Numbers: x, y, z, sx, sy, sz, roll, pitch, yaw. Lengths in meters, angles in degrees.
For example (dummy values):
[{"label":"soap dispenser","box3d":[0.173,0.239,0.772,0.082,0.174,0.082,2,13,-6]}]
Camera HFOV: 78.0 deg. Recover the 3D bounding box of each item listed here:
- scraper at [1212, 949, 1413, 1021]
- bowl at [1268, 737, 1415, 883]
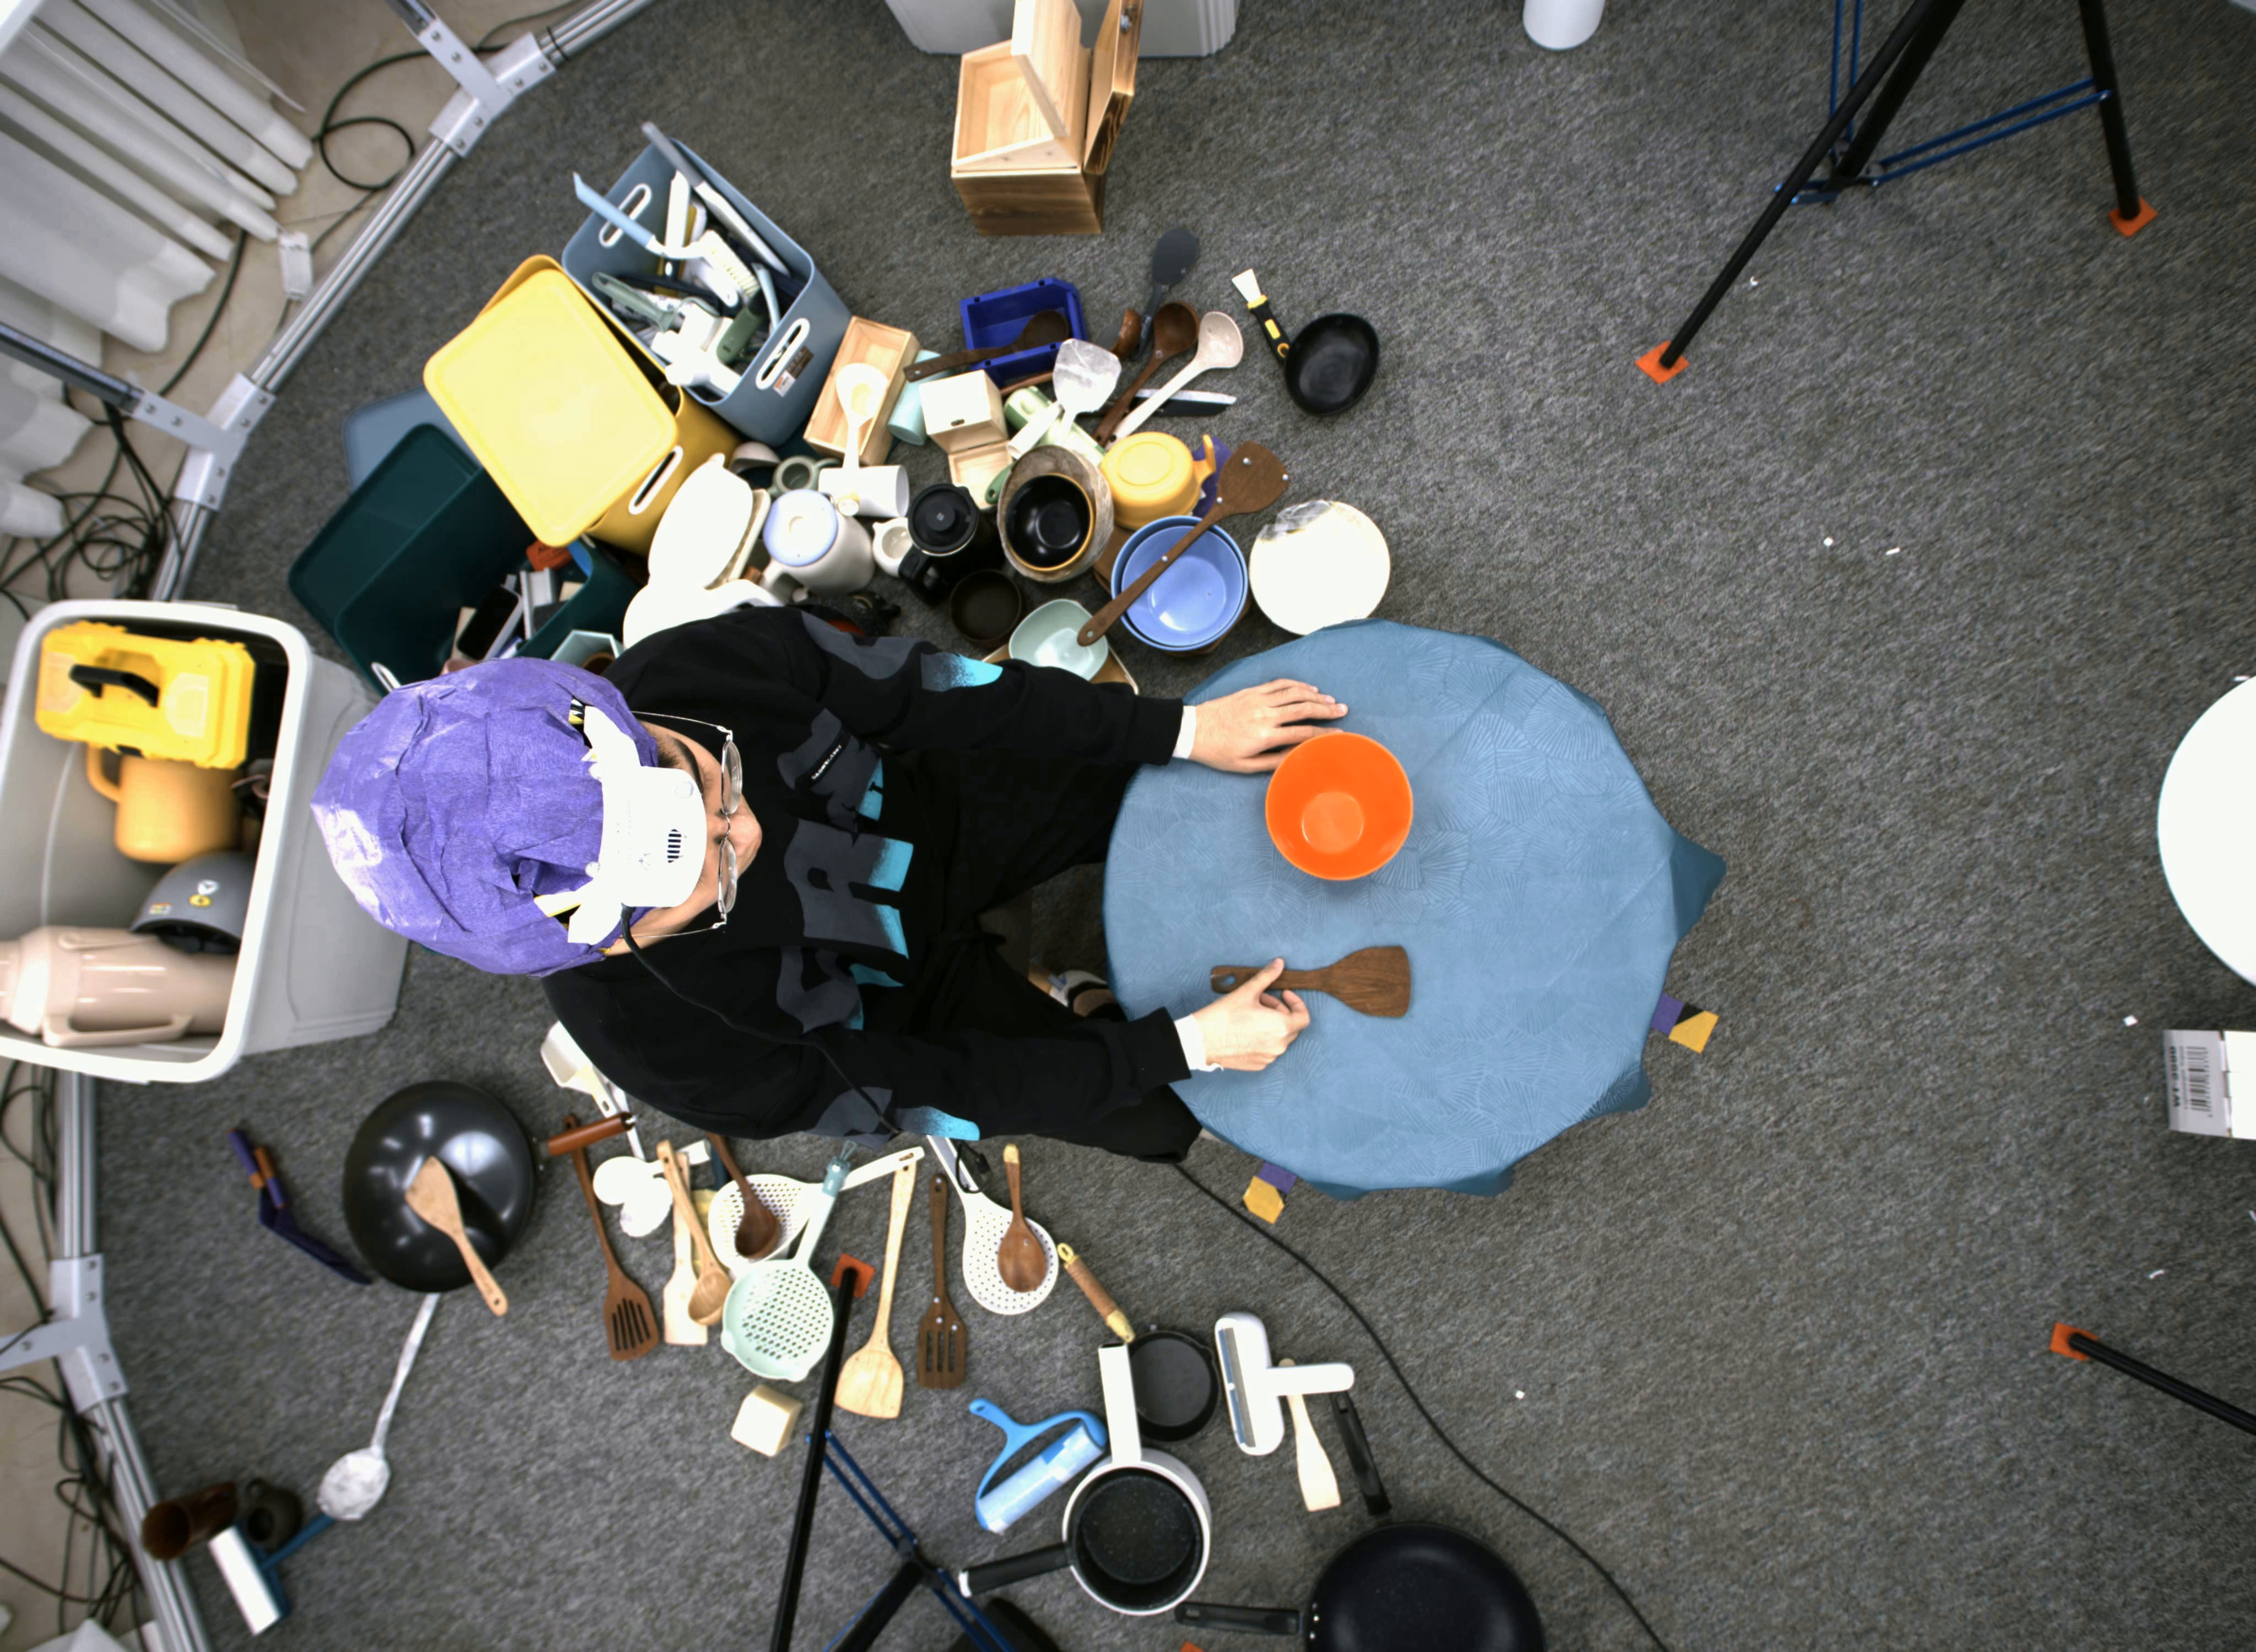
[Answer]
[{"label":"scraper","box3d":[0.194,0.165,1.468,0.212,0.011,0.075,0,85,11]},{"label":"bowl","box3d":[0.221,-0.013,1.429,0.148,0.104,0.147,-1,87,10]}]
